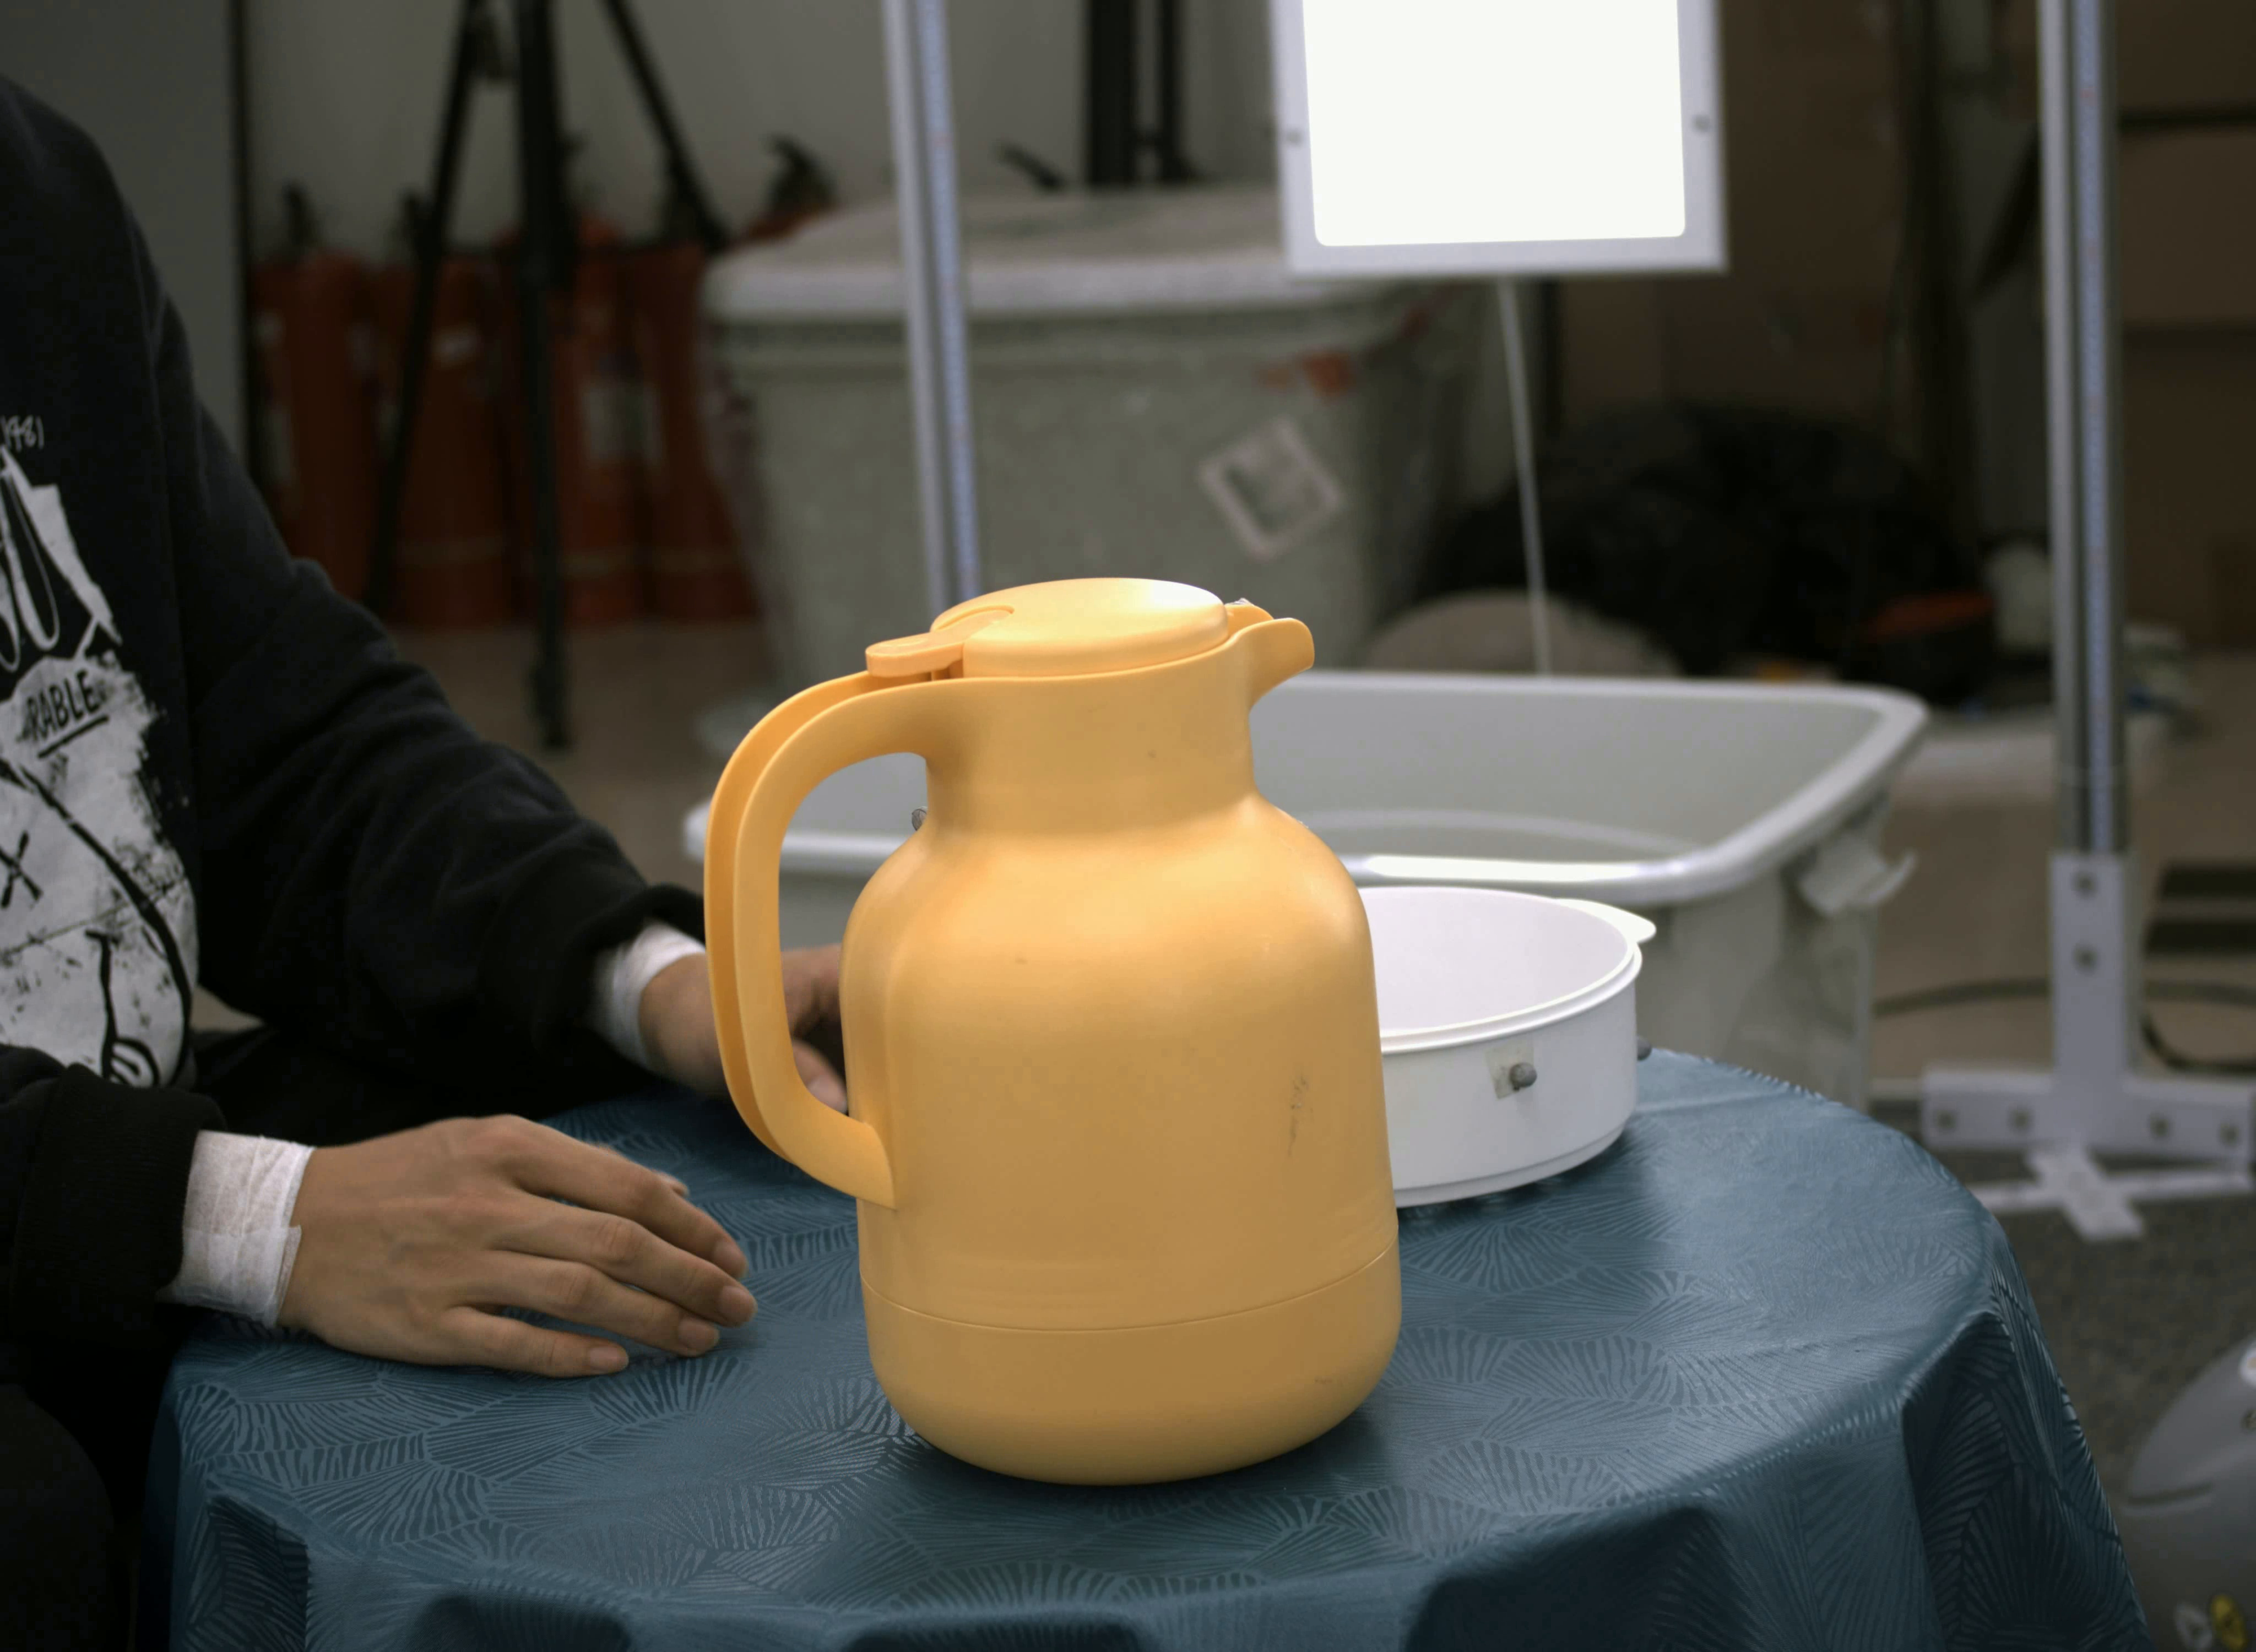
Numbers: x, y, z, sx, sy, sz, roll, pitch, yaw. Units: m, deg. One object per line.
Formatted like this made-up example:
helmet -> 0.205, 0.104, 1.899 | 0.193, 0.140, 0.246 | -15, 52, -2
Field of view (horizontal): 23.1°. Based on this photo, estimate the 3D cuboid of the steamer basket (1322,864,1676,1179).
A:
steamer basket -> 0.085, 0.068, 1.924 | 0.225, 0.069, 0.205 | -2, 14, -28

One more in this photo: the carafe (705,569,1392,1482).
carafe -> -0.025, 0.058, 1.636 | 0.199, 0.261, 0.166 | -8, 12, -20
